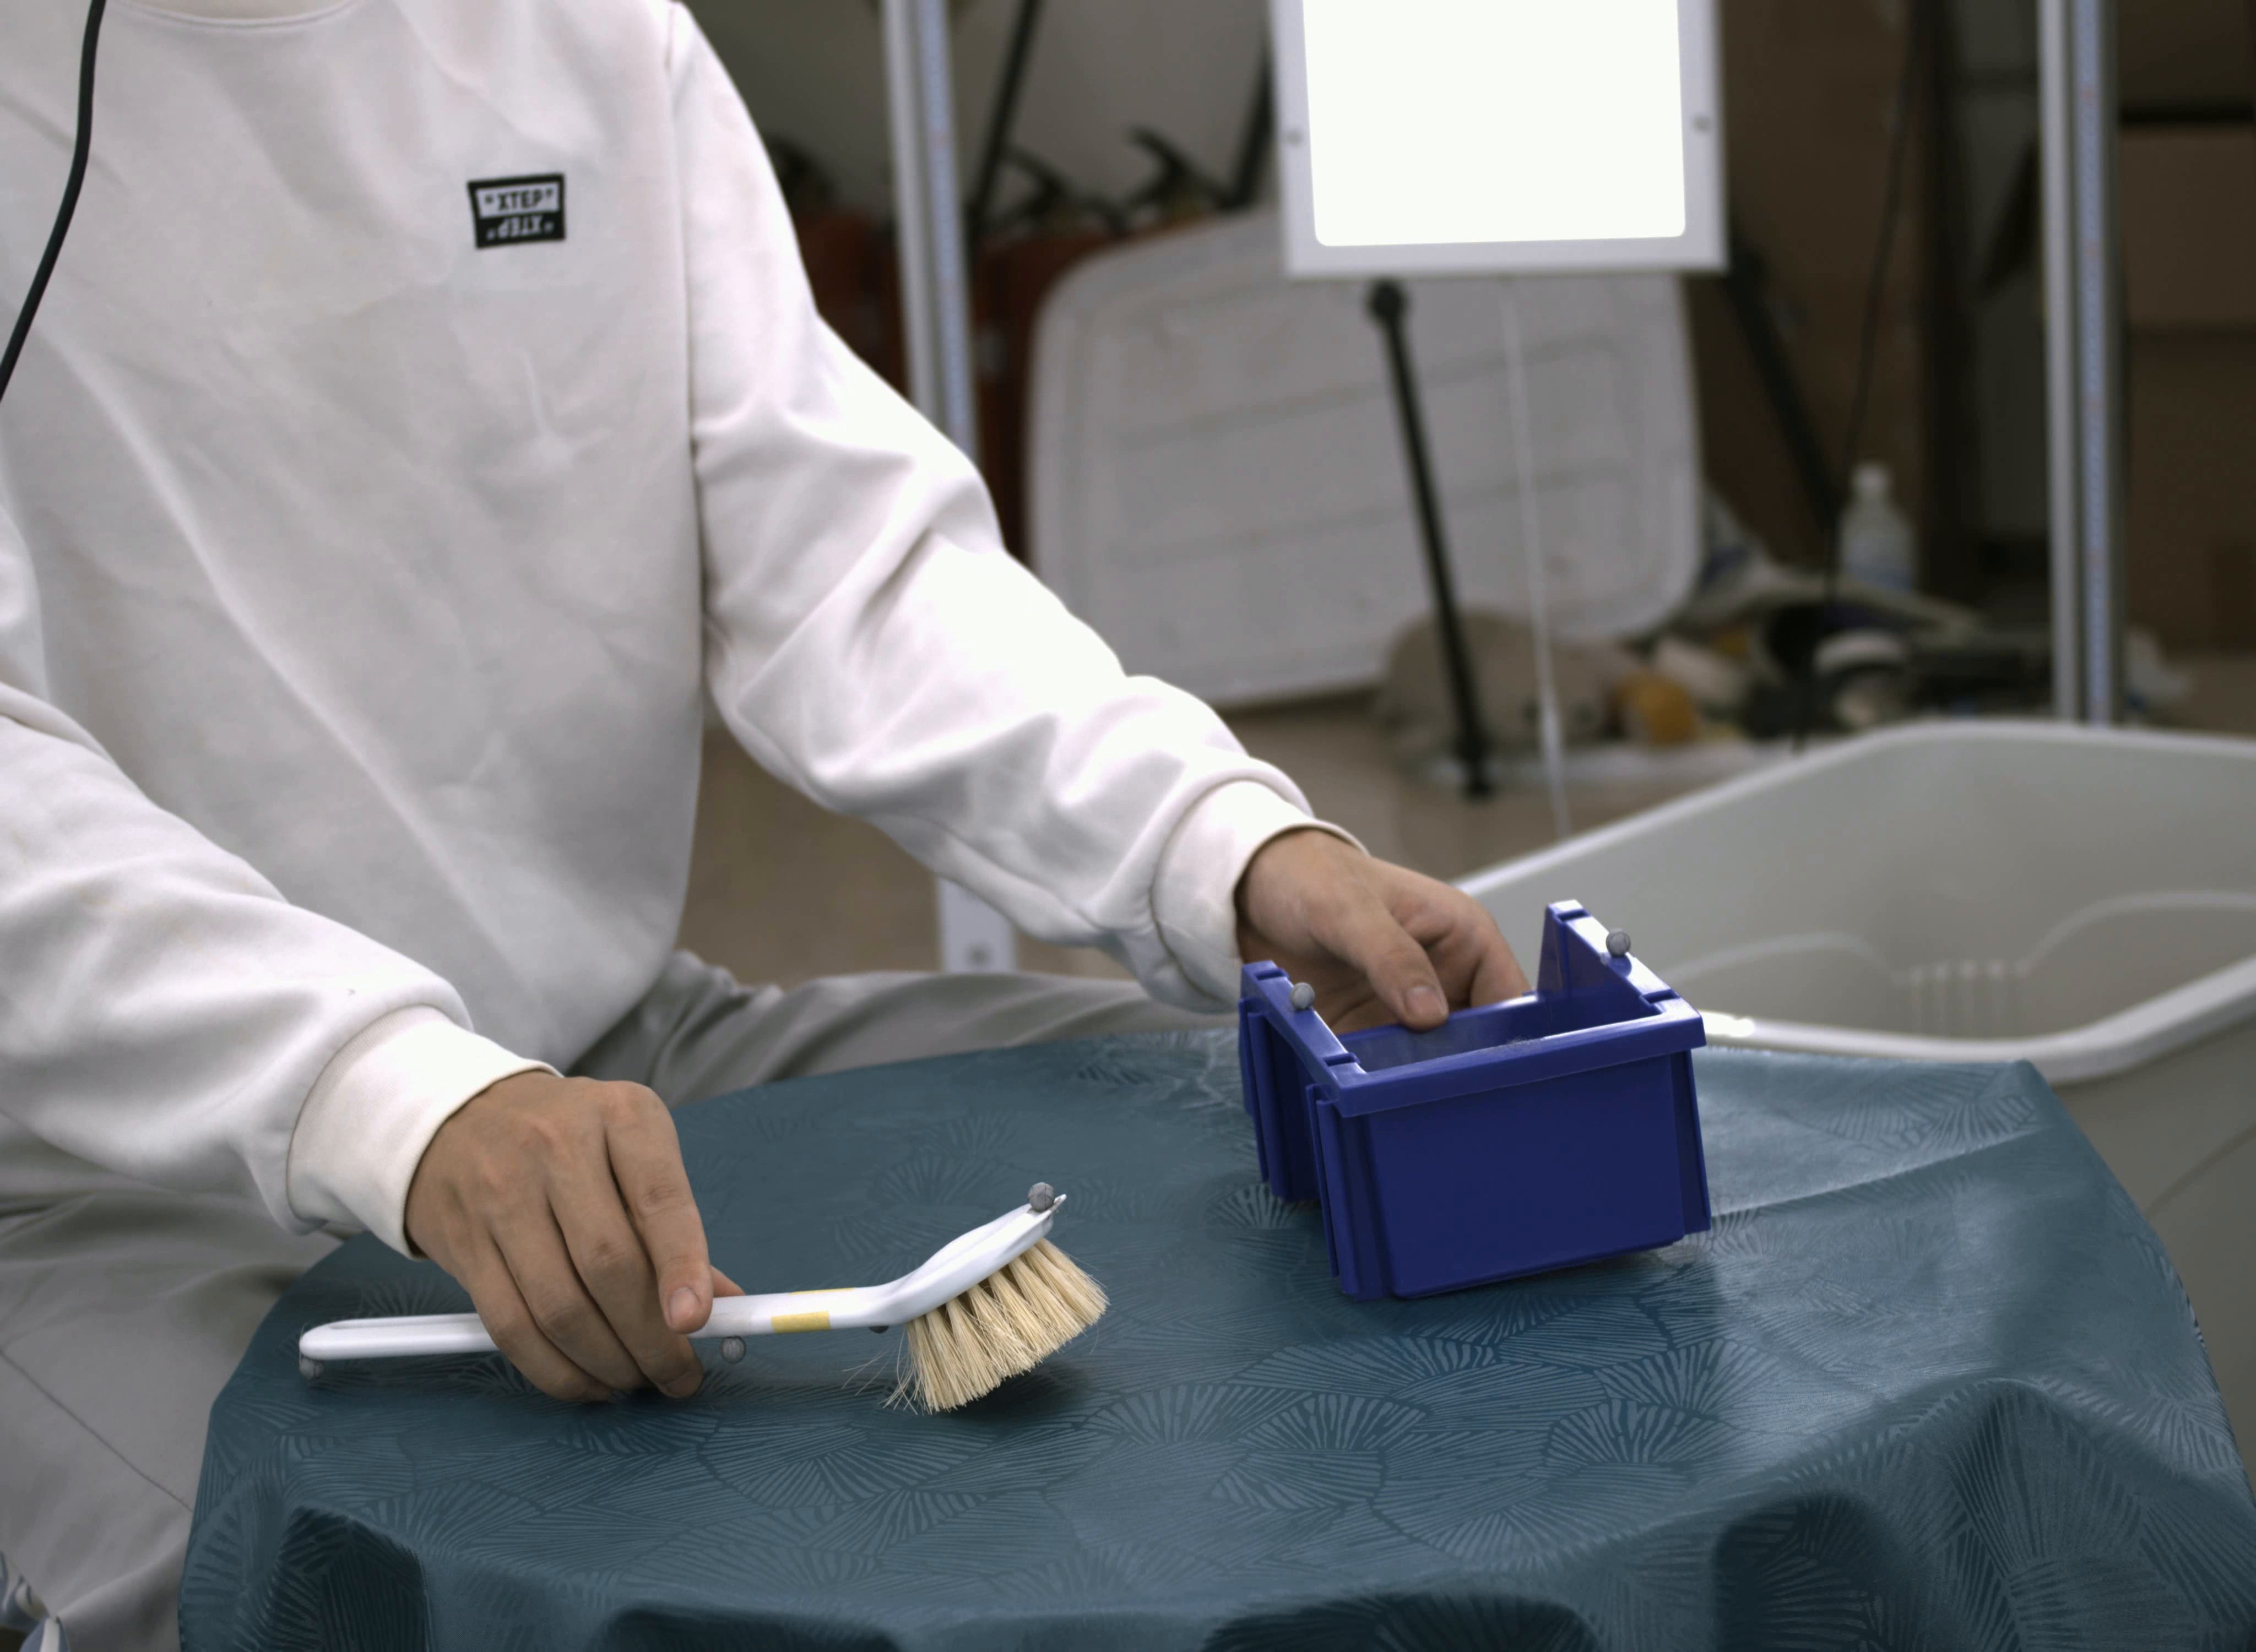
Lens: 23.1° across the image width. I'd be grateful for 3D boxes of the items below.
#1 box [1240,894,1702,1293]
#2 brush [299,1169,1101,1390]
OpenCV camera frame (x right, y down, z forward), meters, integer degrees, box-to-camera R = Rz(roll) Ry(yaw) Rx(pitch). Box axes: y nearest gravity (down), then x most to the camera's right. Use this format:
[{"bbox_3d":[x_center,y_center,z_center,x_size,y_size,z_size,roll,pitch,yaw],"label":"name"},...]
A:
[{"bbox_3d":[0.110,0.086,1.834,0.123,0.082,0.180,-11,17,-7],"label":"box"},{"bbox_3d":[-0.134,0.165,1.740,0.269,0.056,0.067,-15,-2,16],"label":"brush"}]
